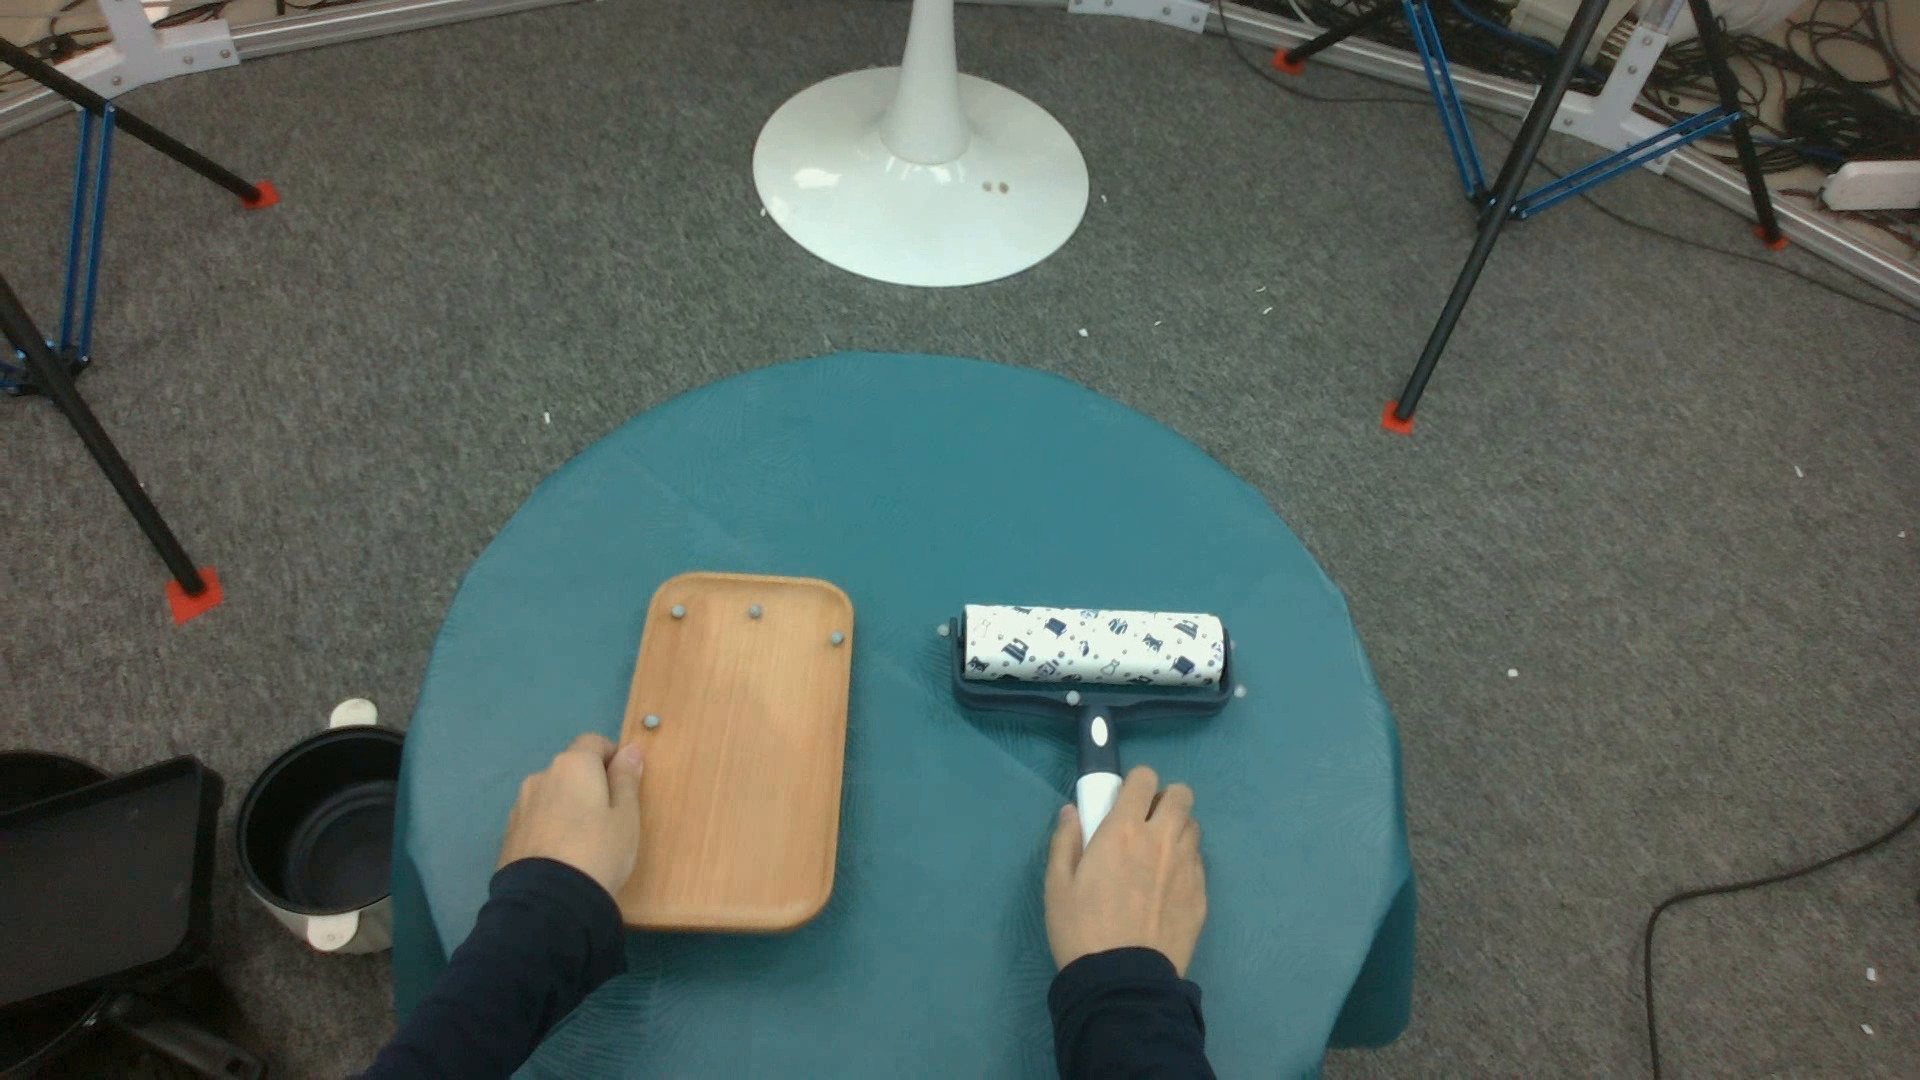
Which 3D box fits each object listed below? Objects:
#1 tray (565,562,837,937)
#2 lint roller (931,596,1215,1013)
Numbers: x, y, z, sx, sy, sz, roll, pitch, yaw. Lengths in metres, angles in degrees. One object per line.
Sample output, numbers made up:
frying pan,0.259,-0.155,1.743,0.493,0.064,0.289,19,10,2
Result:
tray,-0.142,0.112,0.795,0.130,0.023,0.252,4,47,-3
lint roller,0.072,0.146,0.804,0.176,0.050,0.248,3,56,-6
